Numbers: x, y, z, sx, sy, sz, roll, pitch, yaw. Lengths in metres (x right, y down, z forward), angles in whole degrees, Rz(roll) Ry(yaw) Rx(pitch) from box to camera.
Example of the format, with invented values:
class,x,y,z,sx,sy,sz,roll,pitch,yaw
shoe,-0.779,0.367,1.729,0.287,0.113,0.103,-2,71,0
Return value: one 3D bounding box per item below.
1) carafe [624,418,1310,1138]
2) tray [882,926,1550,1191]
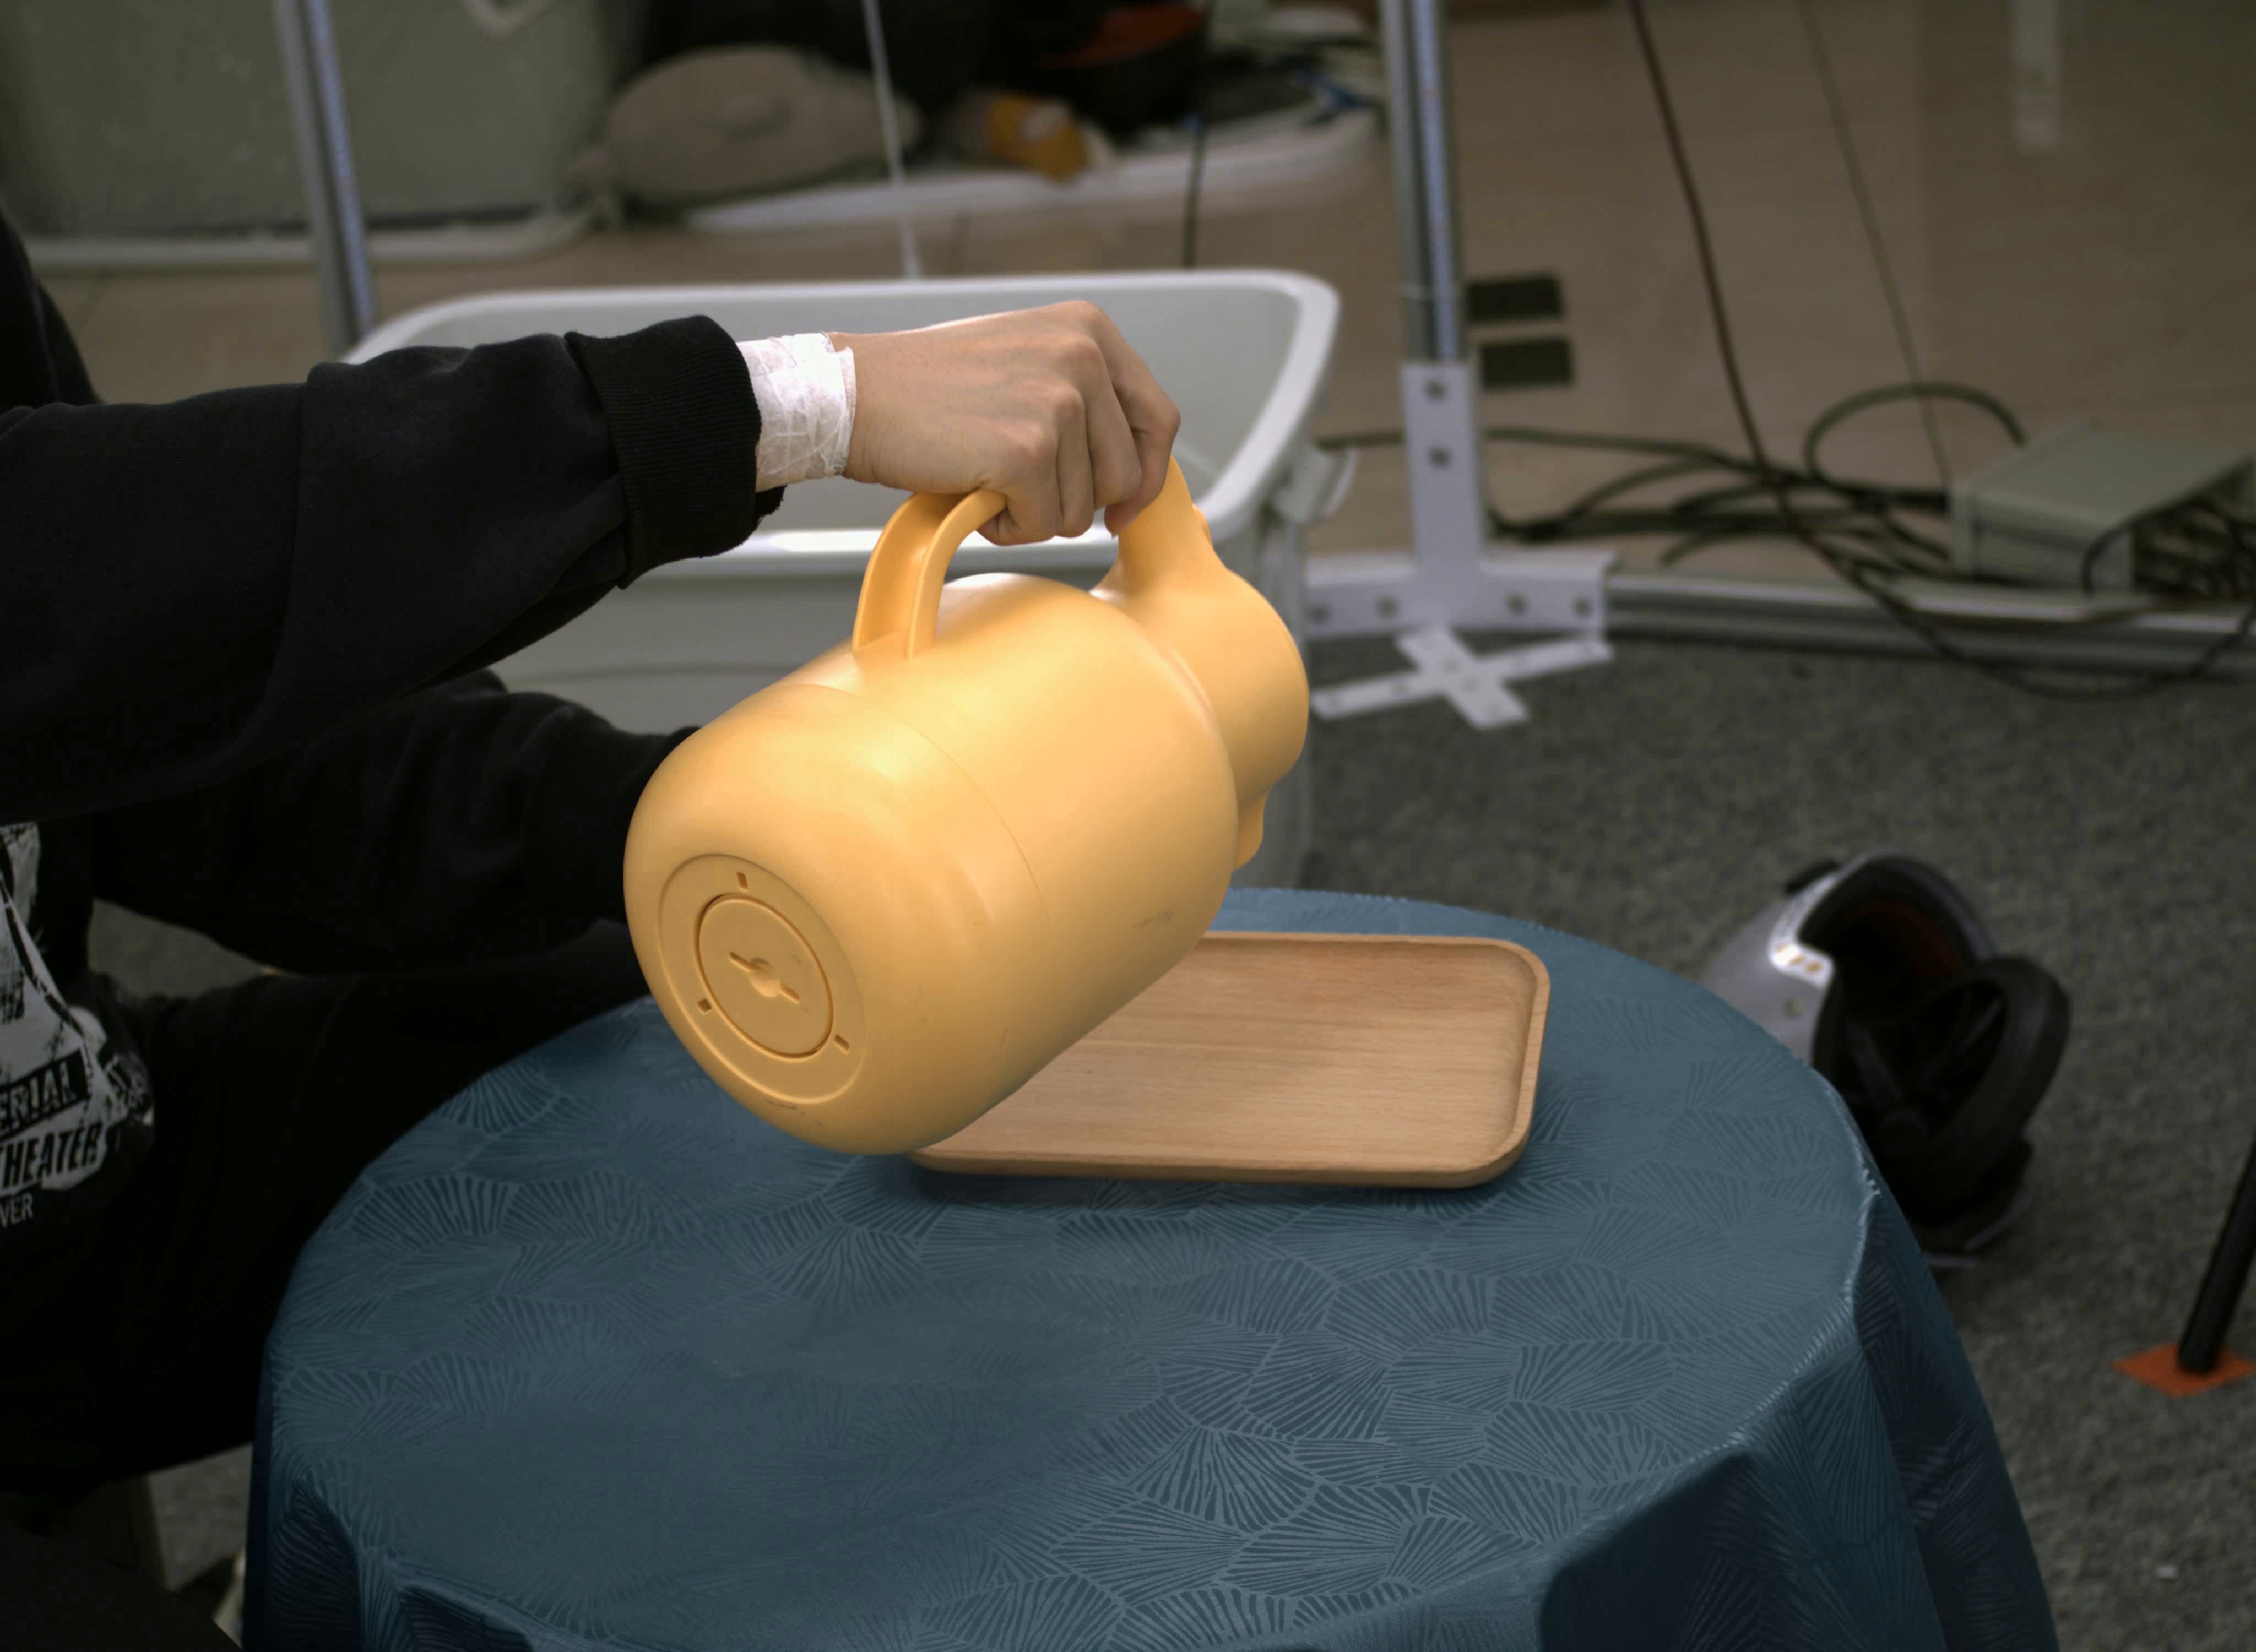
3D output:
class,x,y,z,sx,sy,sz,roll,pitch,yaw
carafe,-0.049,-0.025,1.979,0.163,0.205,0.258,6,27,39
tray,0.034,0.089,2.181,0.250,0.023,0.128,1,42,13
